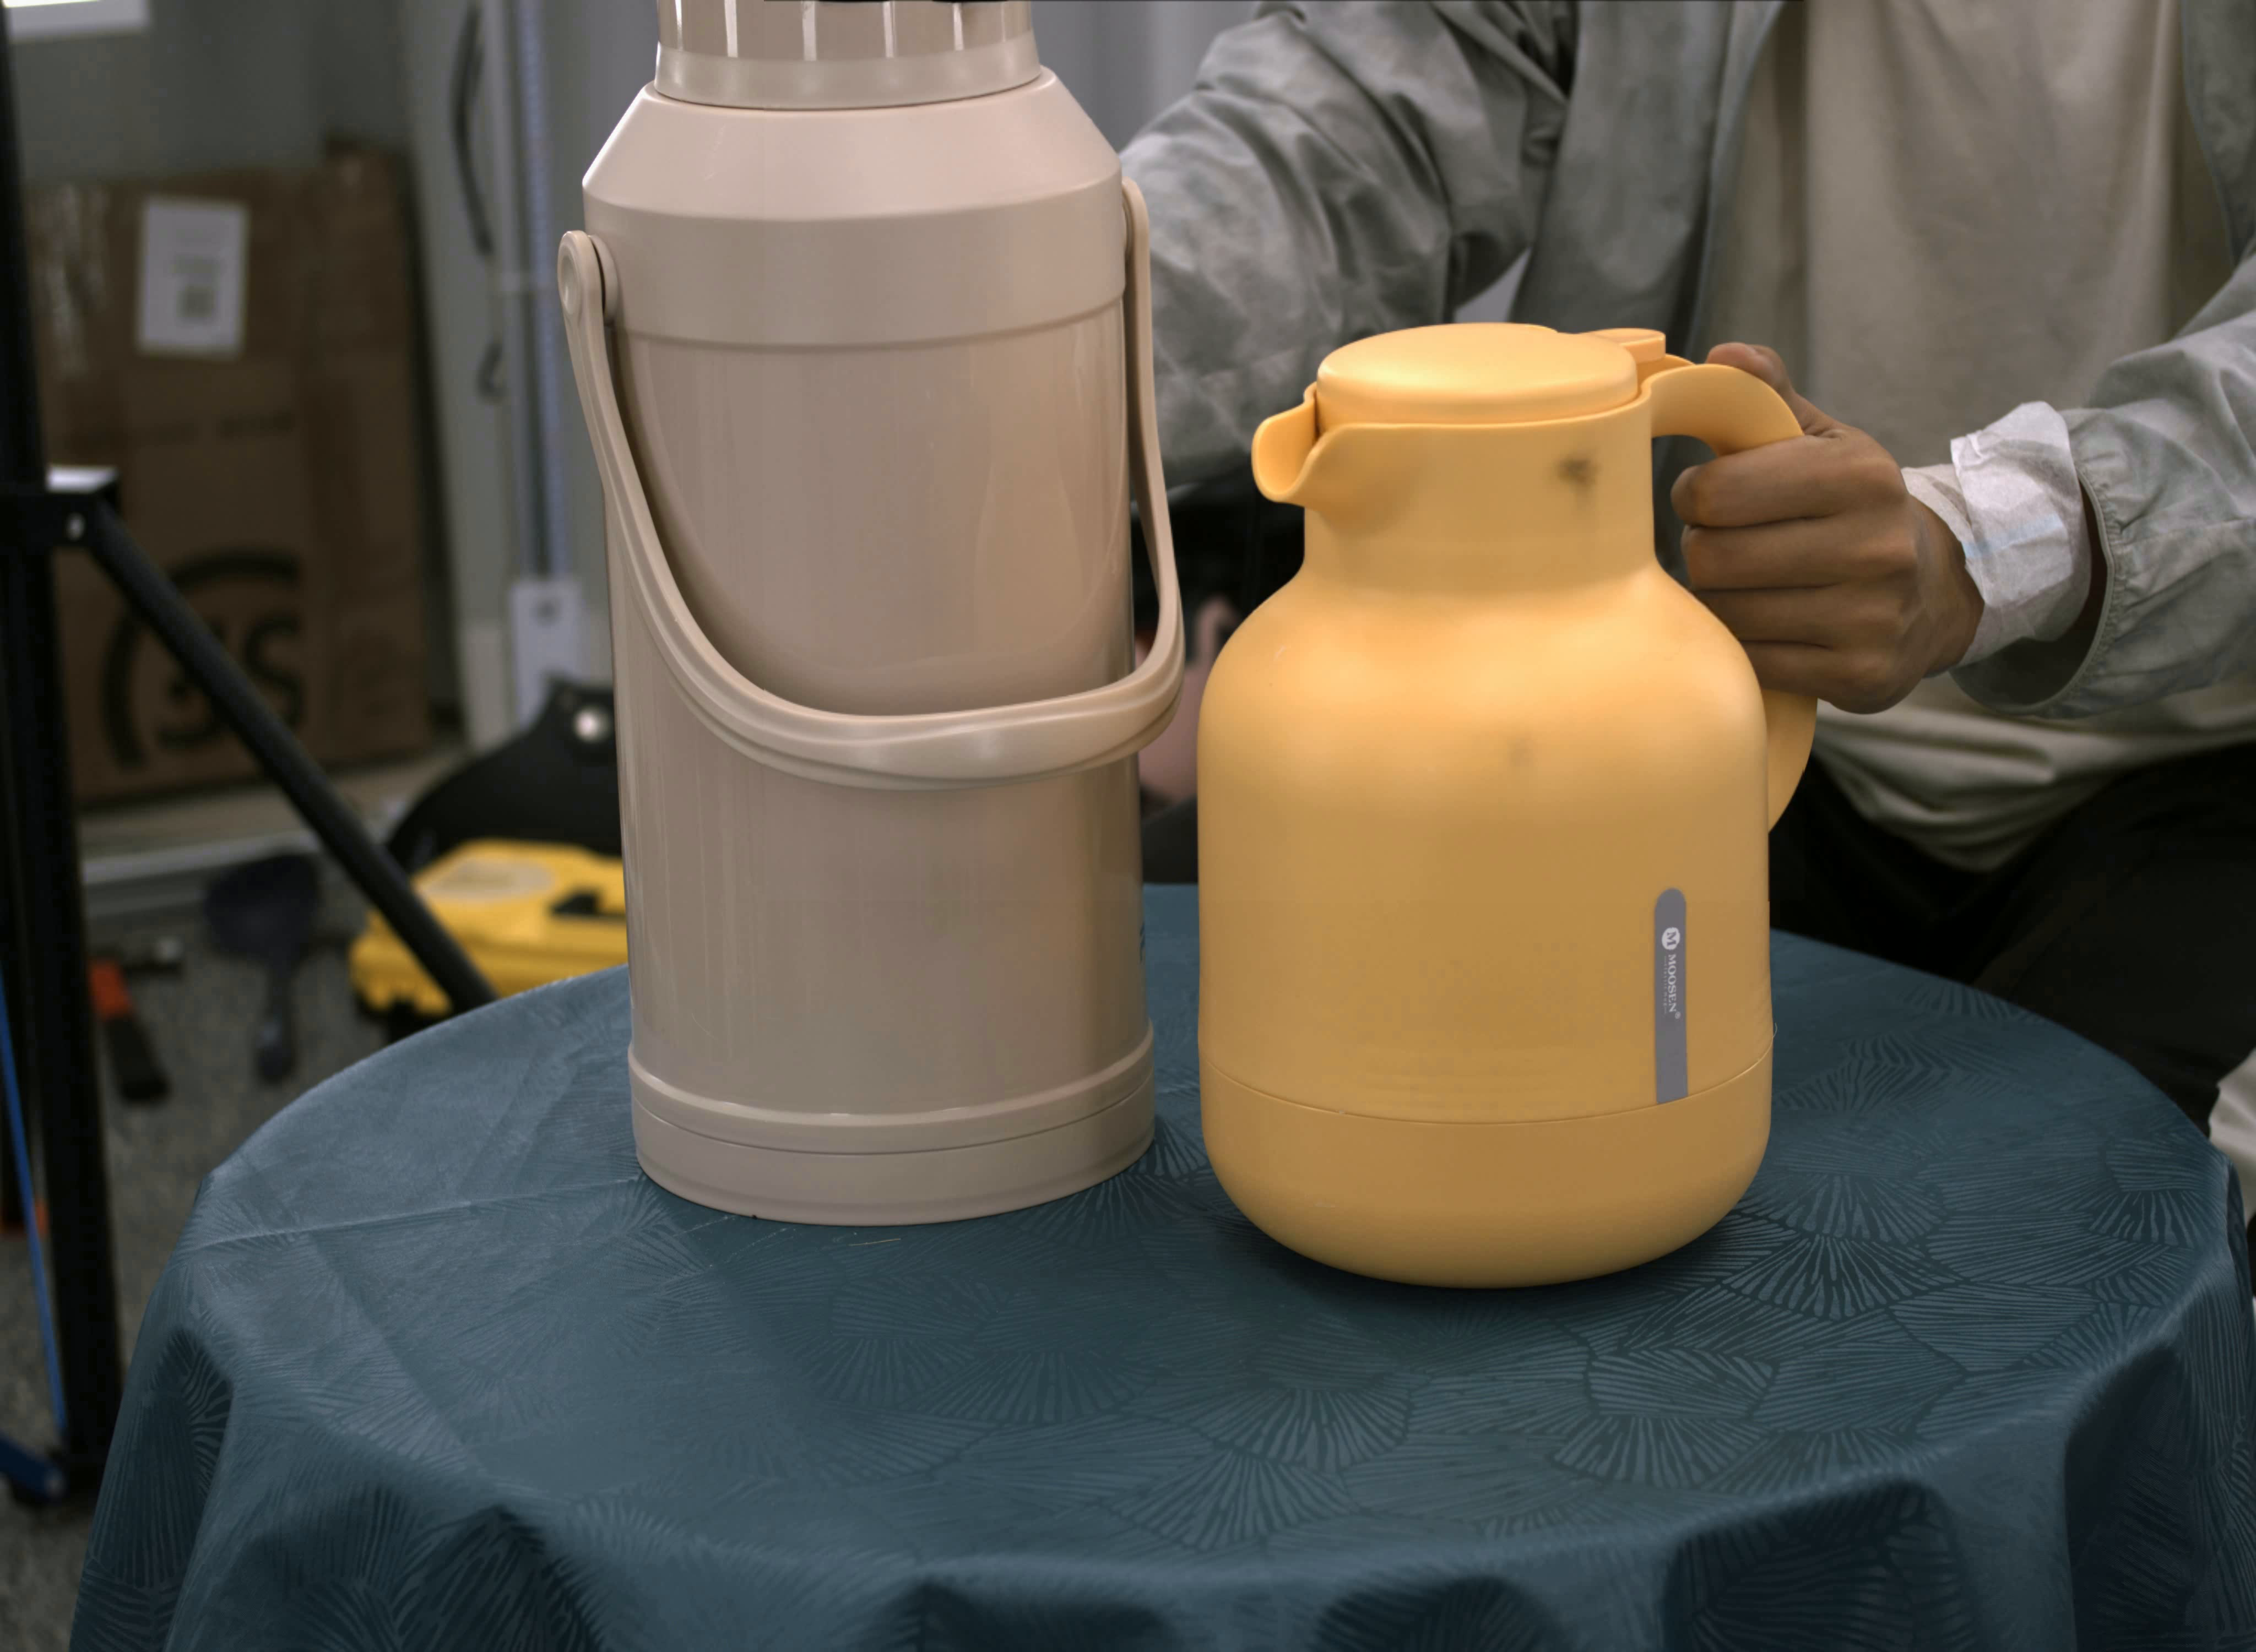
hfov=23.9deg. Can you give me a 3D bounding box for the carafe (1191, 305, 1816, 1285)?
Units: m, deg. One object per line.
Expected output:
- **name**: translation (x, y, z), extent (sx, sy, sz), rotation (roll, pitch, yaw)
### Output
- **carafe**: translation (0.114, -0.015, 1.494), extent (0.198, 0.260, 0.167), rotation (-13, 21, -33)

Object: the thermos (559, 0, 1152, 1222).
- **thermos**: translation (-0.081, -0.101, 1.579), extent (0.172, 0.406, 0.211), rotation (-8, 17, -20)
